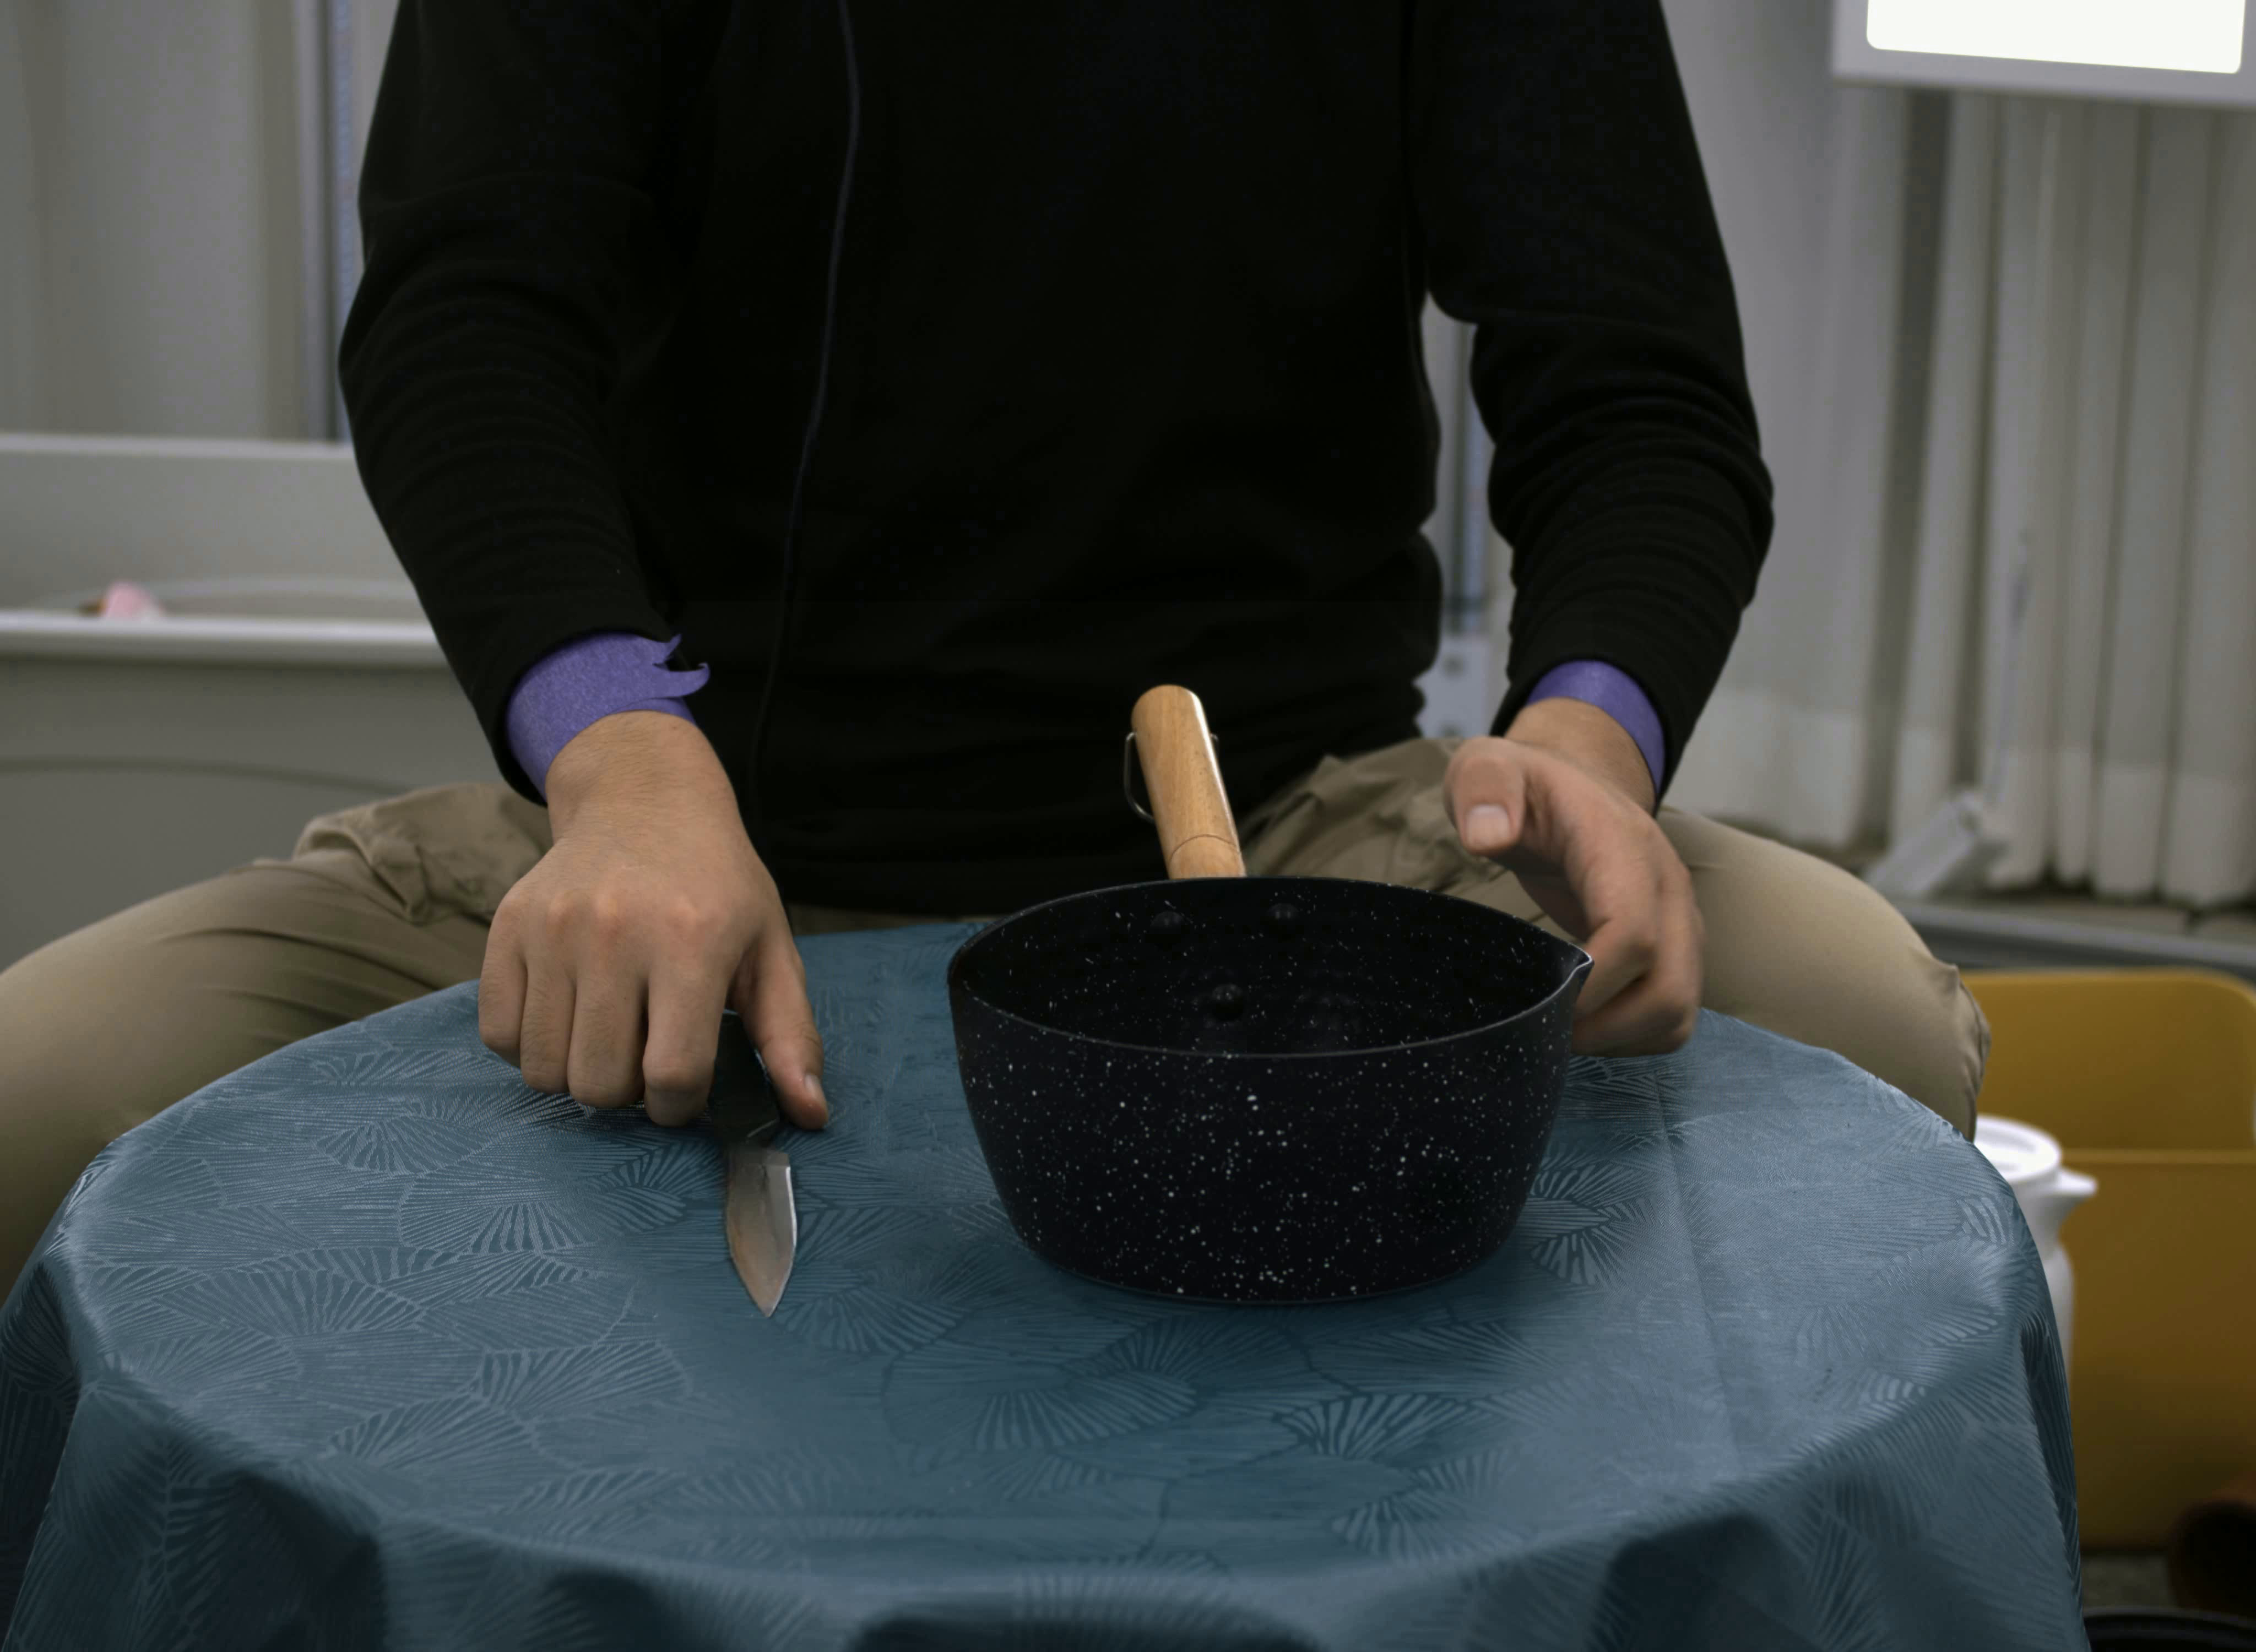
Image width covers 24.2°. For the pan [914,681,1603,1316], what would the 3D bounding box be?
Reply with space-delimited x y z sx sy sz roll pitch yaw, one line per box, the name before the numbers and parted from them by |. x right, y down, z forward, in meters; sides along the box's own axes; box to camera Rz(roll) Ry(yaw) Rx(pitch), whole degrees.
pan | 0.031 0.049 1.655 0.207 0.109 0.340 -2 17 -7

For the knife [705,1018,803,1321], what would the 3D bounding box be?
knife | -0.117 0.105 1.625 0.024 0.016 0.236 1 18 -8
